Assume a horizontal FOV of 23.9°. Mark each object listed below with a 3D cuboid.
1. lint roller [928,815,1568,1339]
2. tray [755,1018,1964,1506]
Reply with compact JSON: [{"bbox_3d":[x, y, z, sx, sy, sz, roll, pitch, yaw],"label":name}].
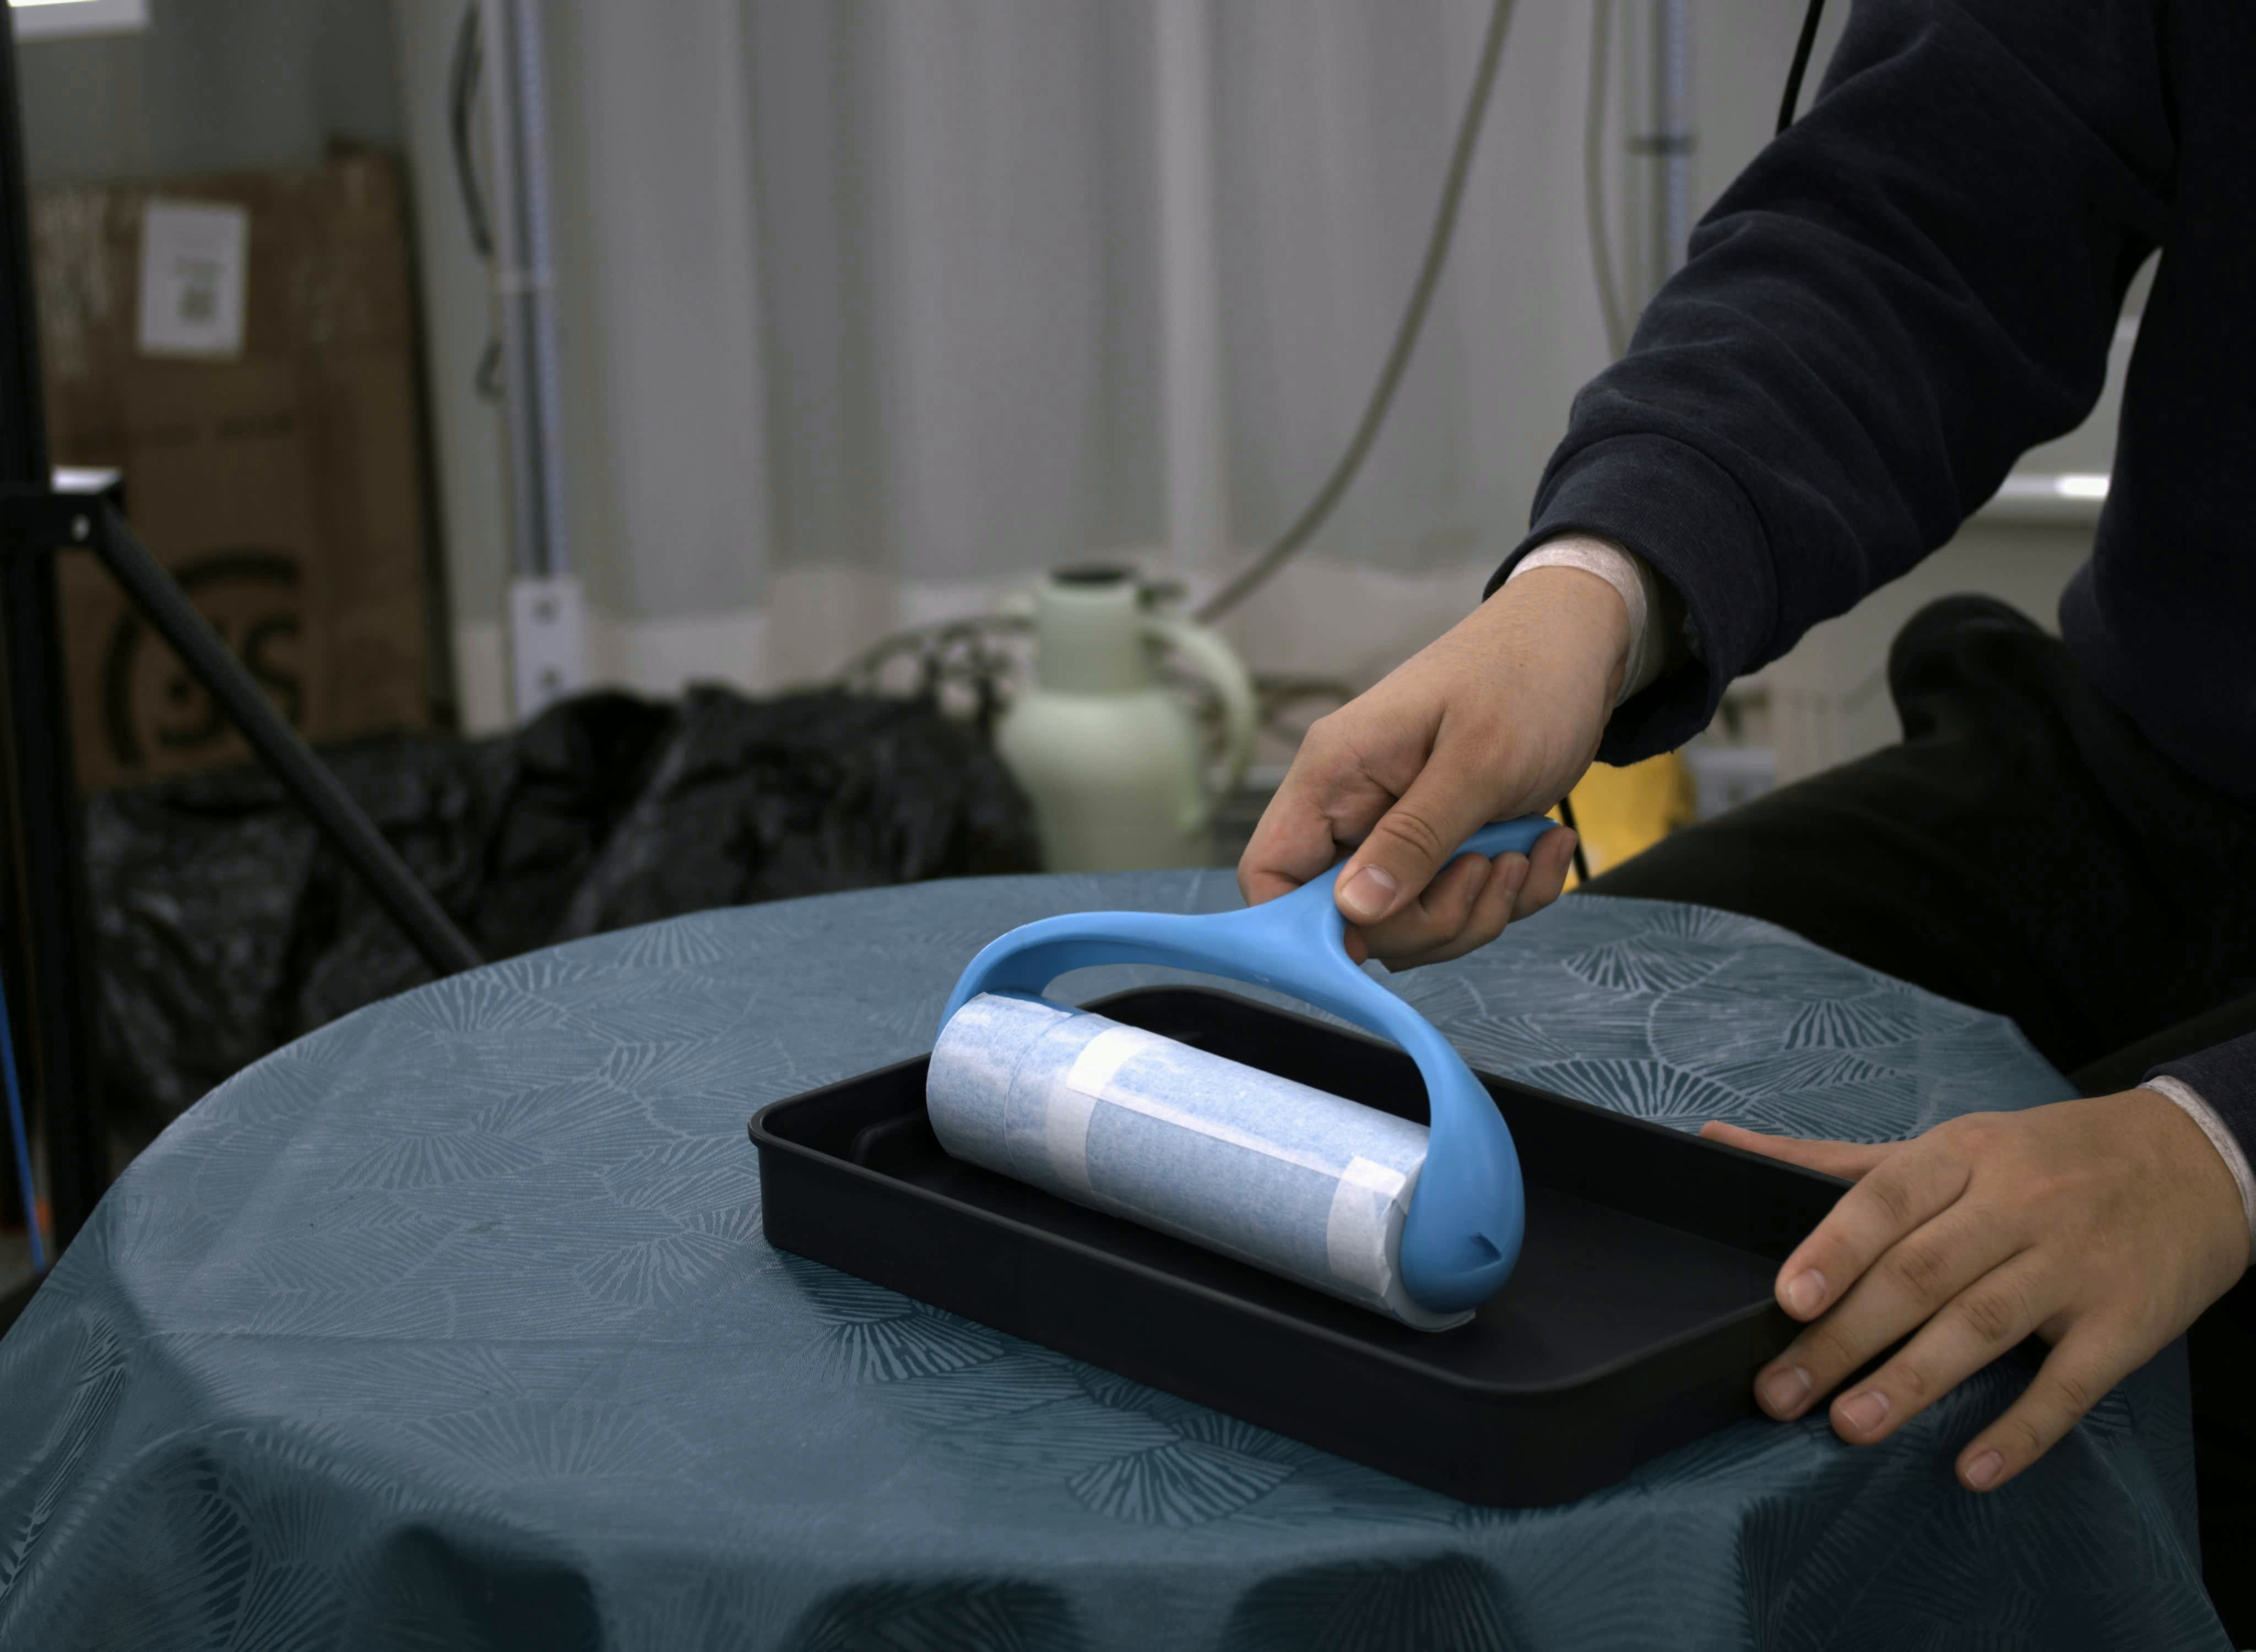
[{"bbox_3d":[0.057,0.048,1.514,0.234,0.066,0.179,13,58,48],"label":"lint roller"},{"bbox_3d":[0.059,0.115,1.472,0.180,0.037,0.325,-16,18,-40],"label":"tray"}]
